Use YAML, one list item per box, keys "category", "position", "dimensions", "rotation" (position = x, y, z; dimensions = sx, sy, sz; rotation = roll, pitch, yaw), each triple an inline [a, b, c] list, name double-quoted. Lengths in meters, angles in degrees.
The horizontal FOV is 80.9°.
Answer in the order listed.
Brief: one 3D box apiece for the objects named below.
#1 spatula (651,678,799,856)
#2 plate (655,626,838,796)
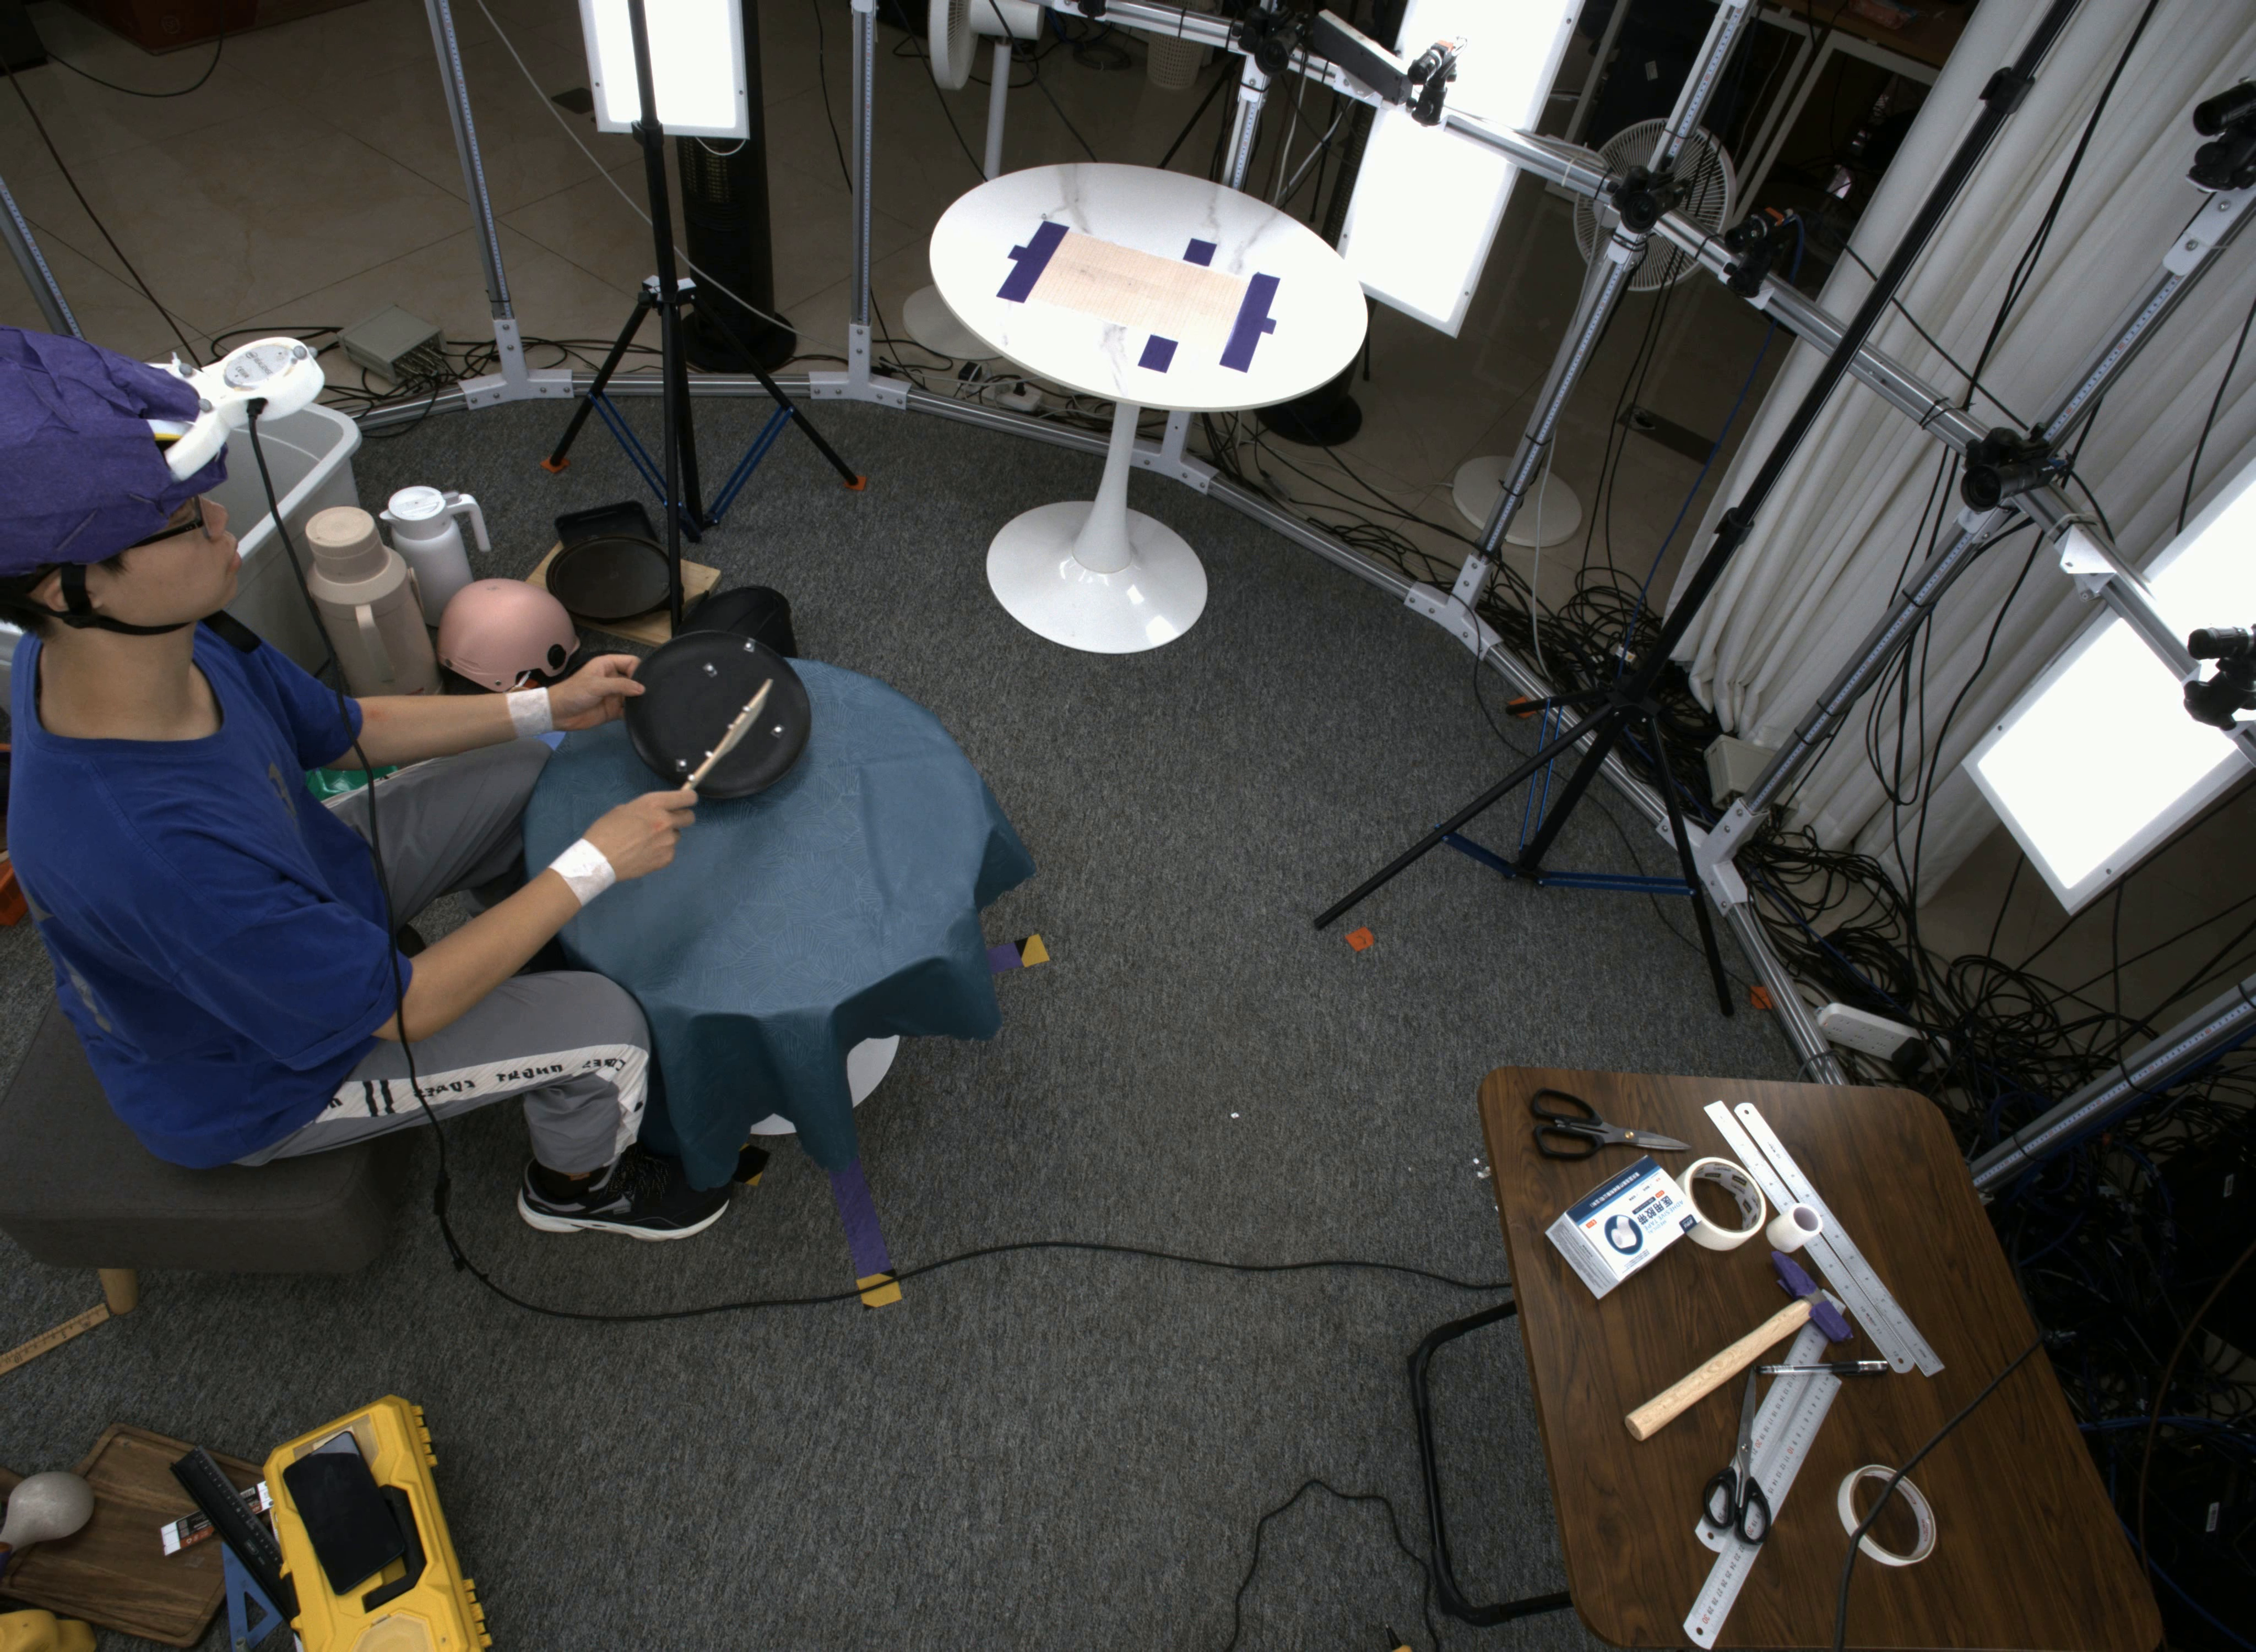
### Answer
- category: "spatula"
  position: [-0.490, -0.072, 1.577]
  dimensions: [0.011, 0.072, 0.291]
  rotation: [36, 55, -5]
- category: "plate"
  position: [-0.517, -0.154, 1.747]
  dimensions: [0.247, 0.023, 0.243]
  rotation: [8, 71, -22]
